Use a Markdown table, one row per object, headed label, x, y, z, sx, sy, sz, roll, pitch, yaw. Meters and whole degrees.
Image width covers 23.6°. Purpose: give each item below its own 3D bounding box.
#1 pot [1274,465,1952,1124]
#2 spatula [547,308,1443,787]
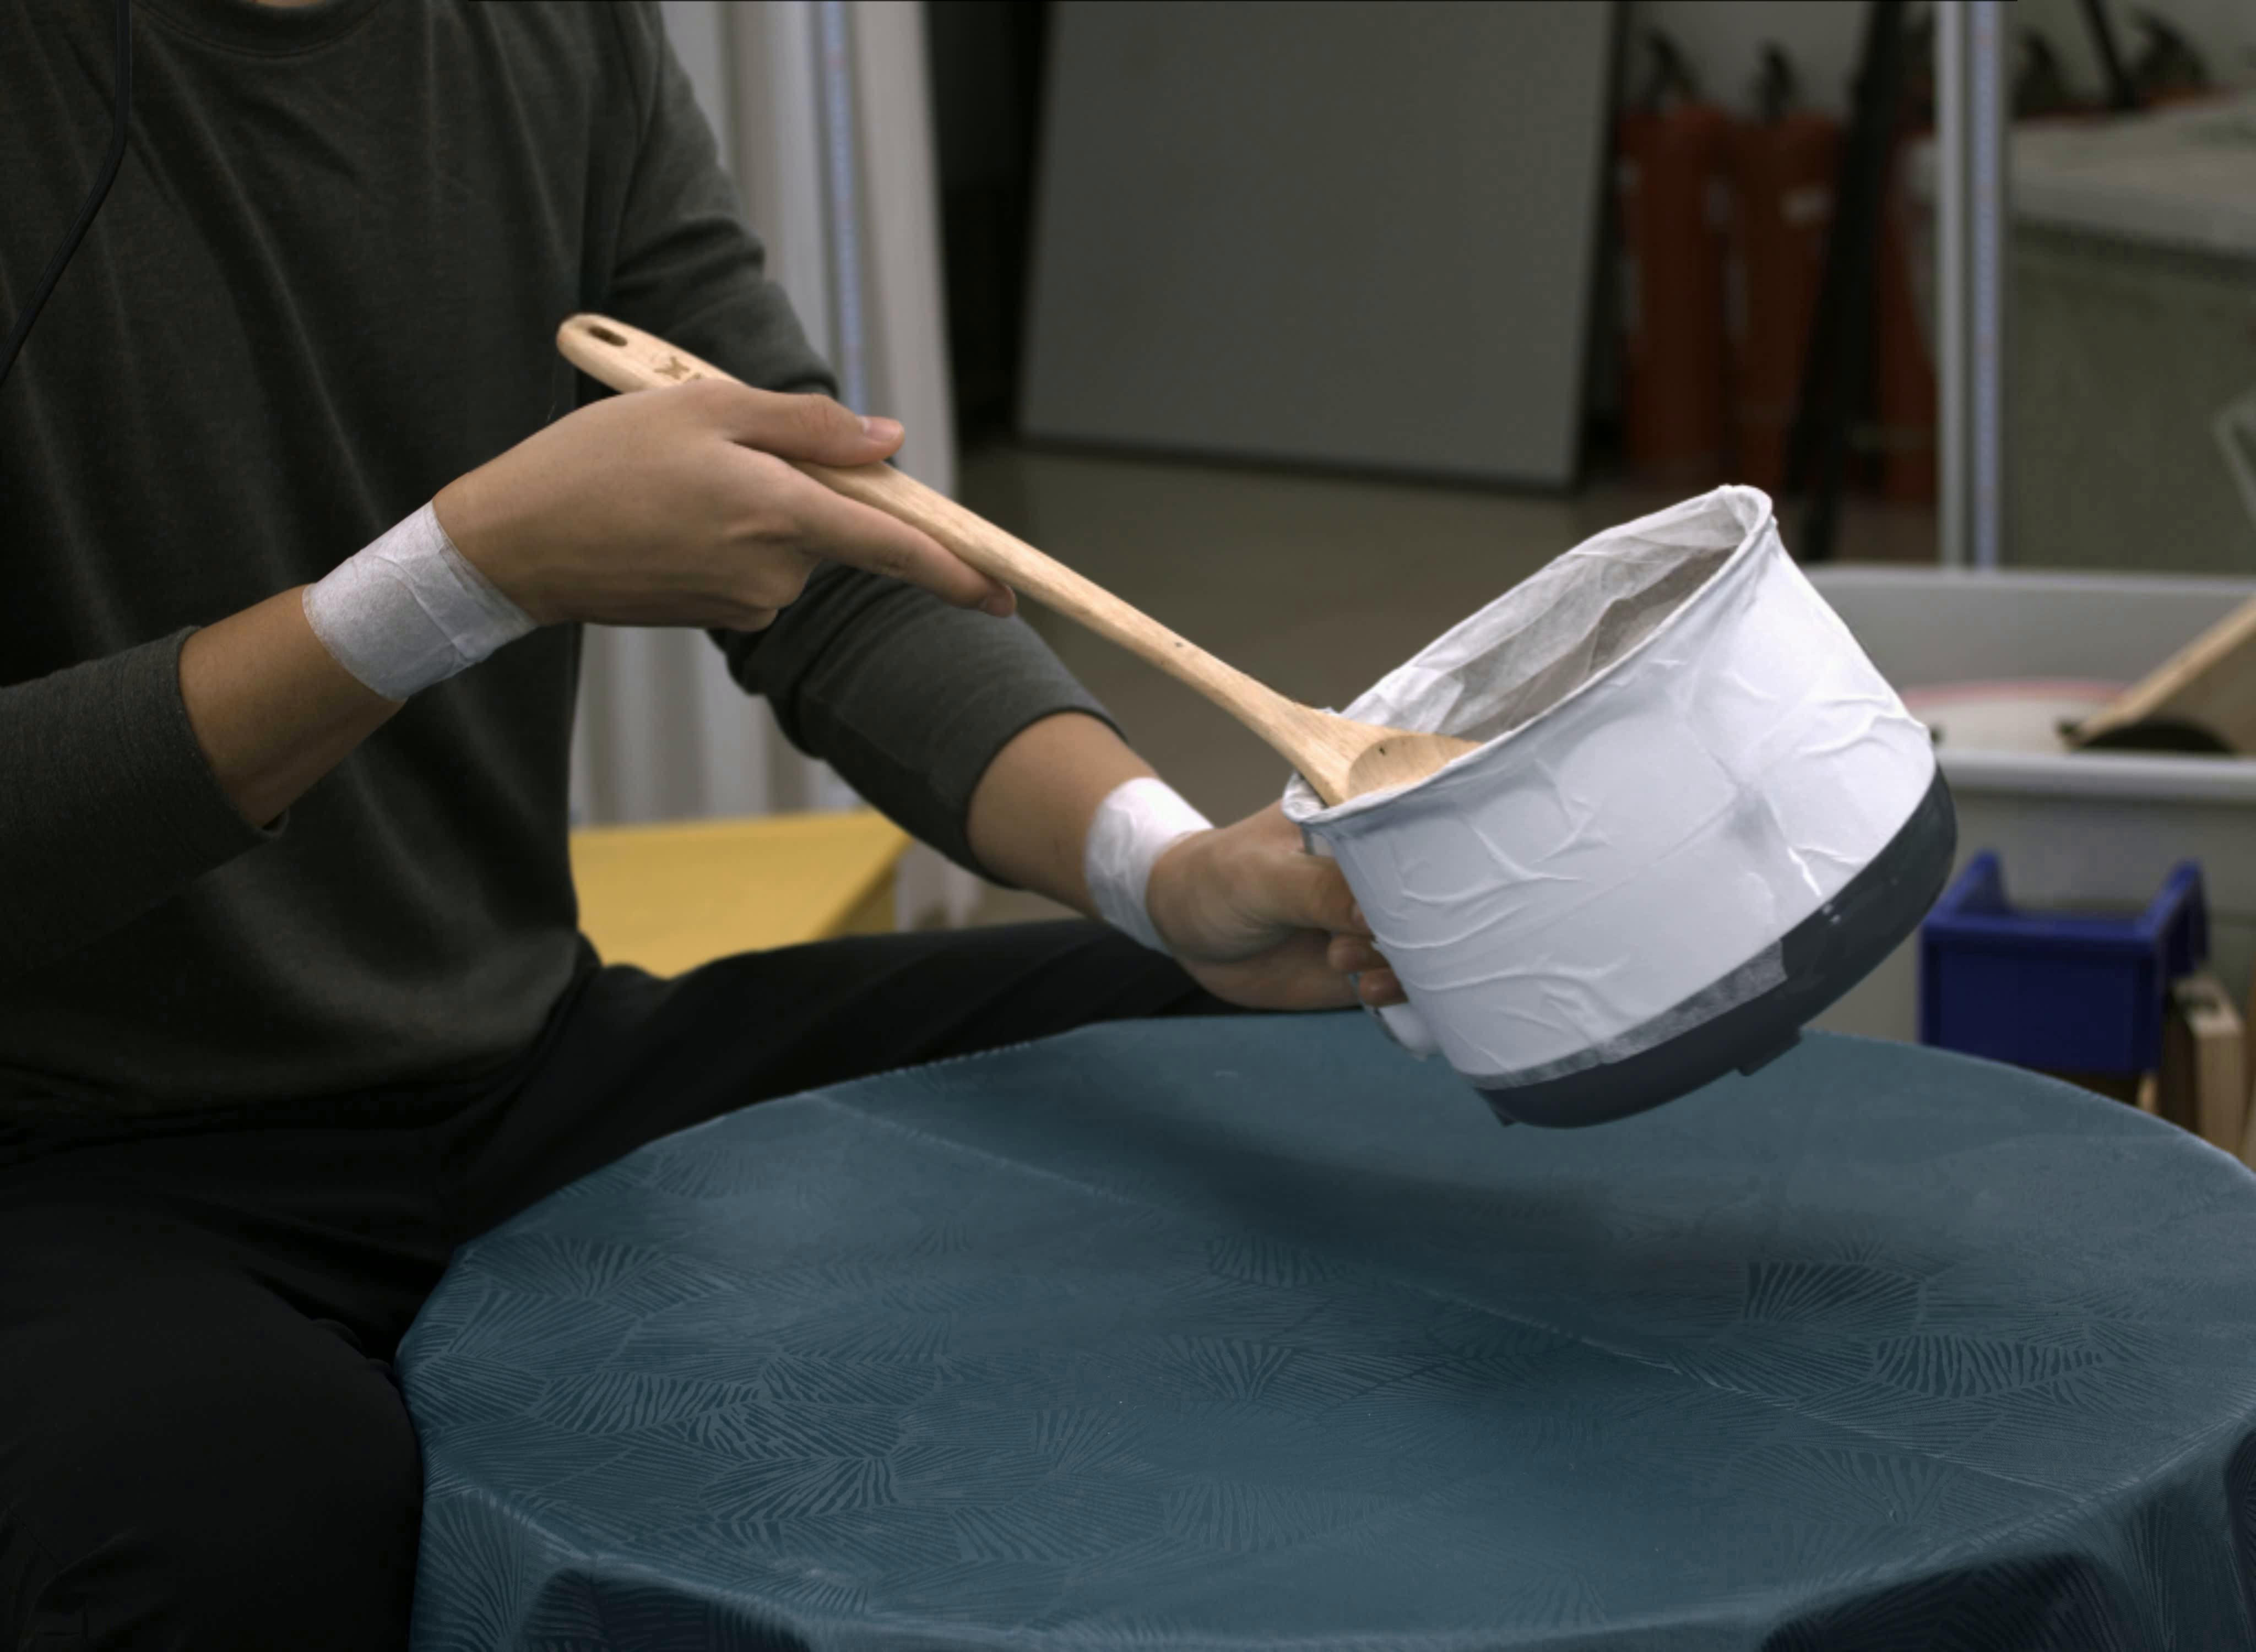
| label | x | y | z | sx | sy | sz | roll | pitch | yaw |
| --- | --- | --- | --- | --- | --- | --- | --- | --- | --- |
| pot | 0.135 | 0.001 | 1.658 | 0.236 | 0.137 | 0.176 | -22 | 15 | 50 |
| spatula | -0.018 | -0.070 | 1.682 | 0.390 | 0.018 | 0.095 | 29 | 30 | 12 |
